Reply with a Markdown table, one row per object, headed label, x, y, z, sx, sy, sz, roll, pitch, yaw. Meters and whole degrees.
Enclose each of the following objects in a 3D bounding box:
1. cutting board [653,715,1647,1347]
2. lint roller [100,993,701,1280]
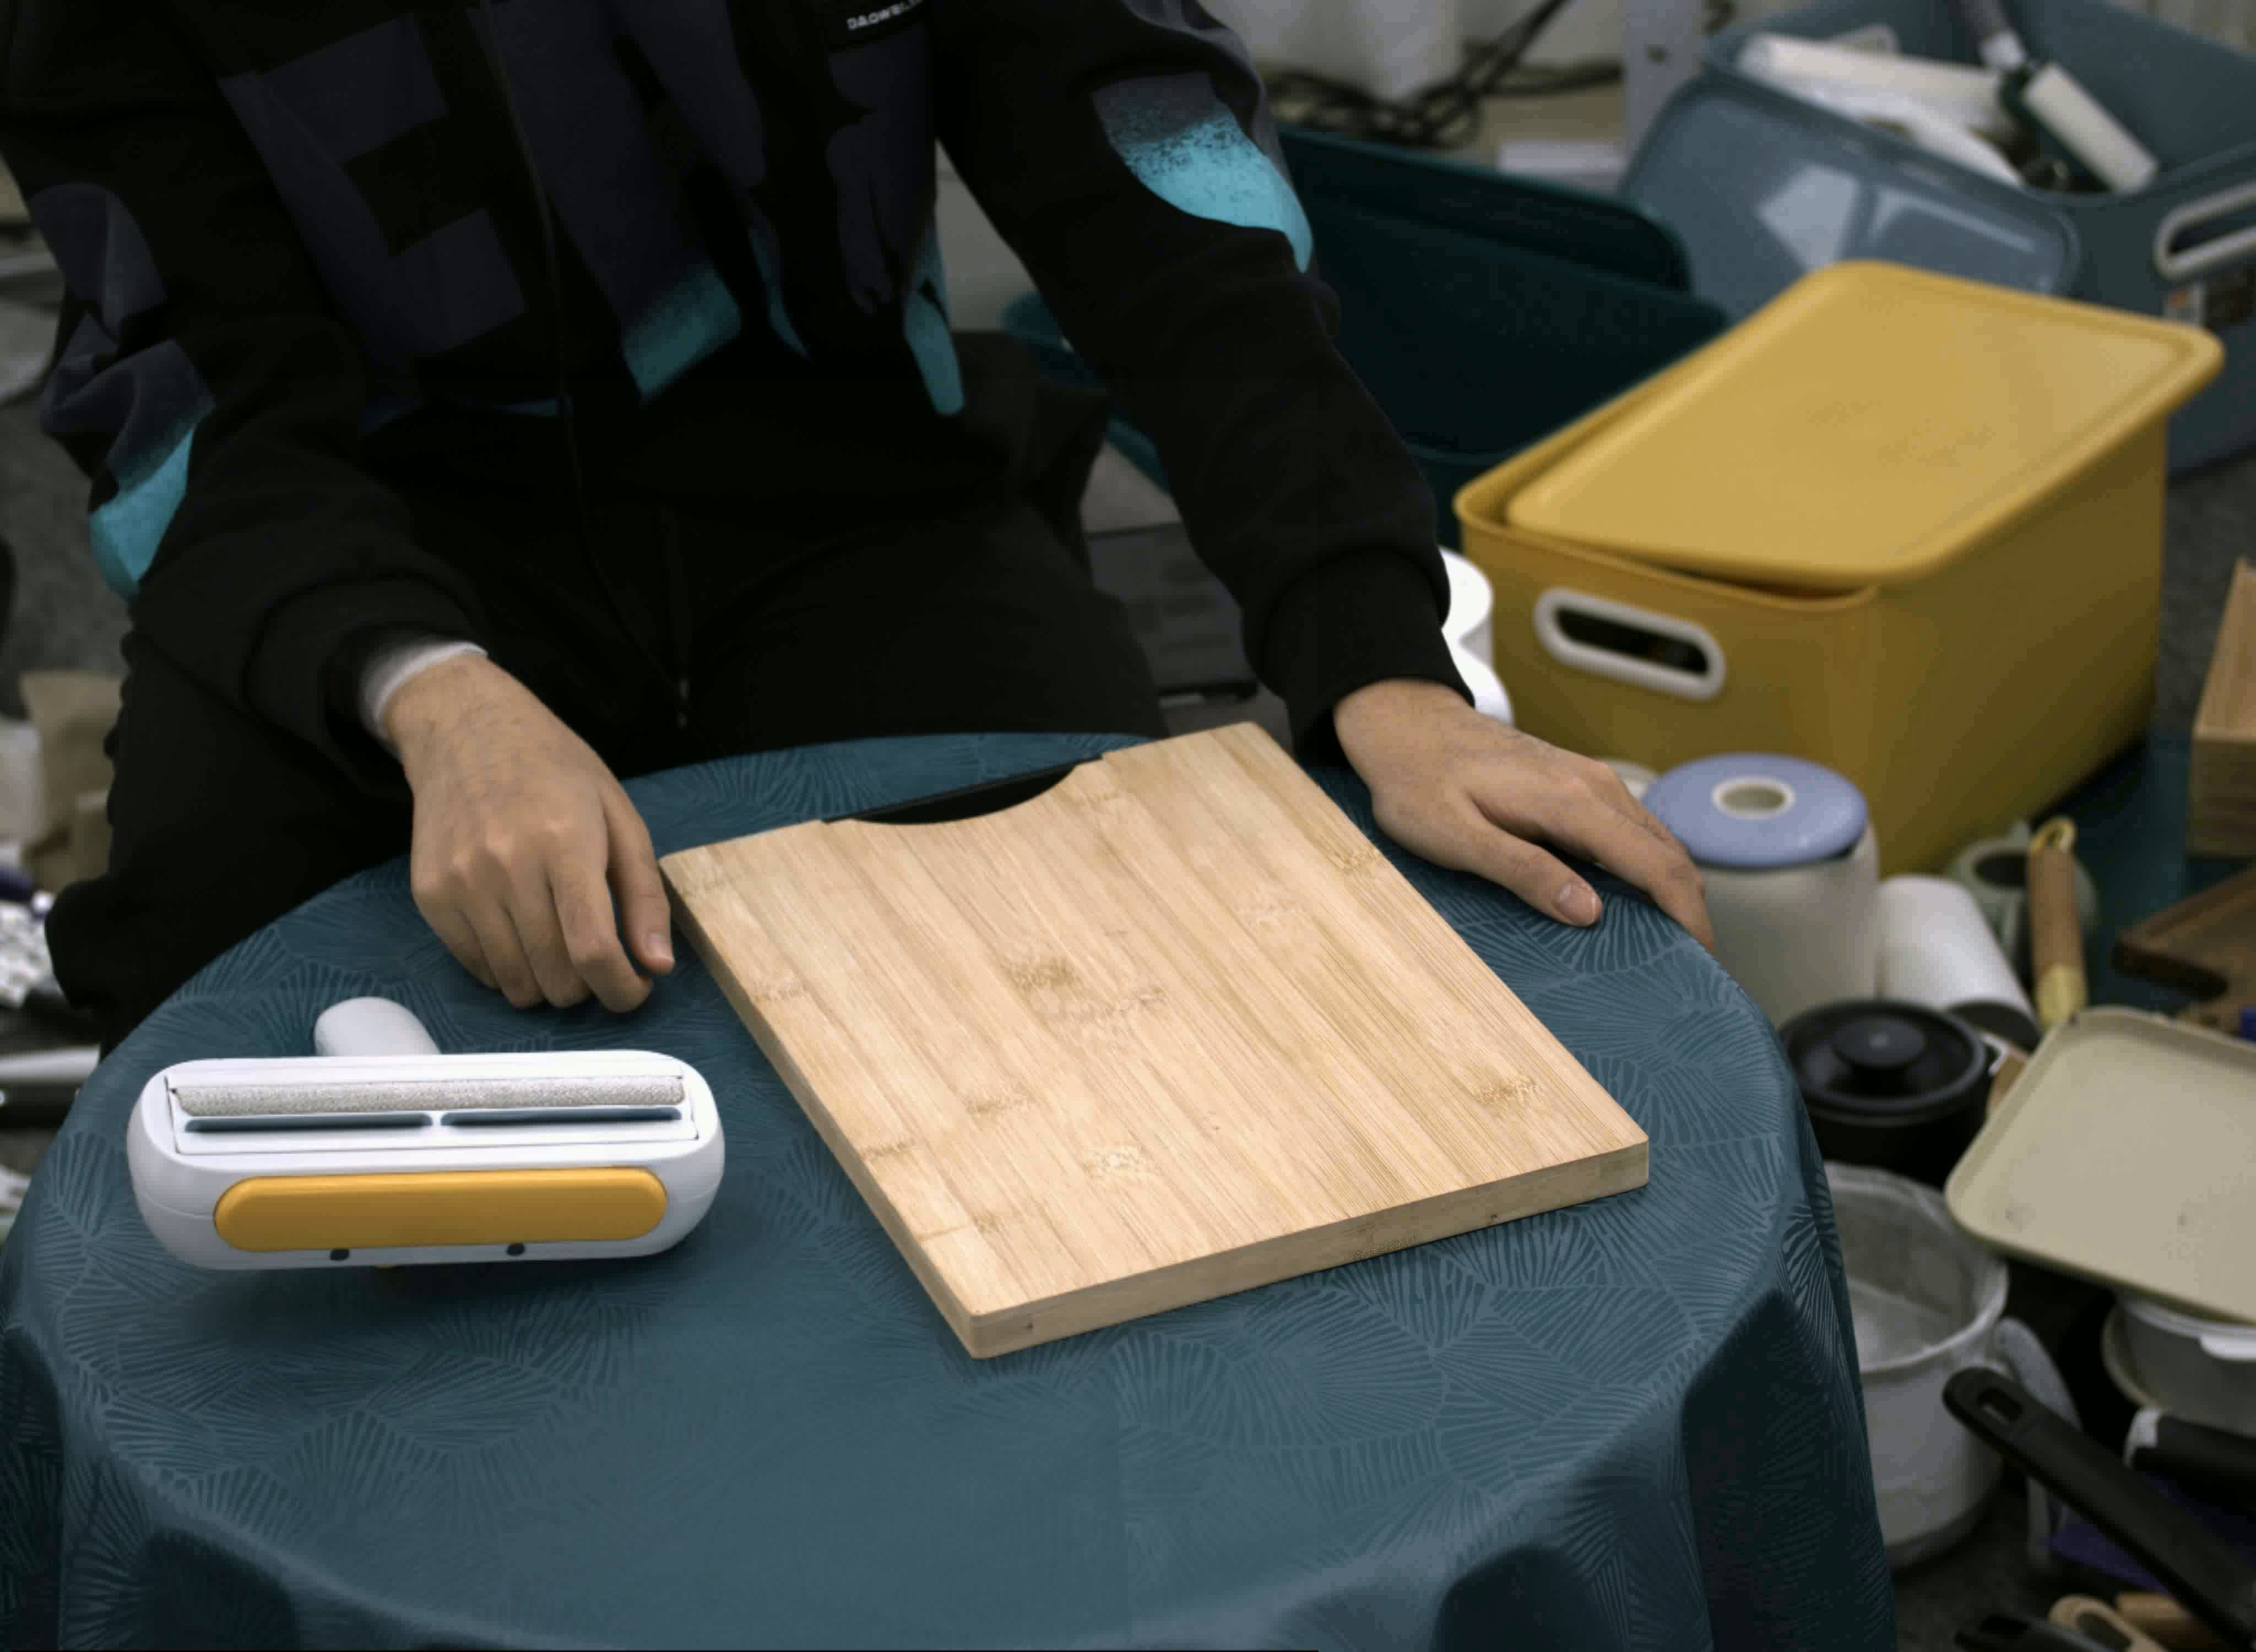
| label | x | y | z | sx | sy | sz | roll | pitch | yaw |
| --- | --- | --- | --- | --- | --- | --- | --- | --- | --- |
| cutting board | -0.002 | 0.064 | 1.954 | 0.251 | 0.023 | 0.351 | -13 | 29 | -18 |
| lint roller | -0.246 | 0.090 | 1.872 | 0.192 | 0.073 | 0.194 | -3 | 25 | -11 |
